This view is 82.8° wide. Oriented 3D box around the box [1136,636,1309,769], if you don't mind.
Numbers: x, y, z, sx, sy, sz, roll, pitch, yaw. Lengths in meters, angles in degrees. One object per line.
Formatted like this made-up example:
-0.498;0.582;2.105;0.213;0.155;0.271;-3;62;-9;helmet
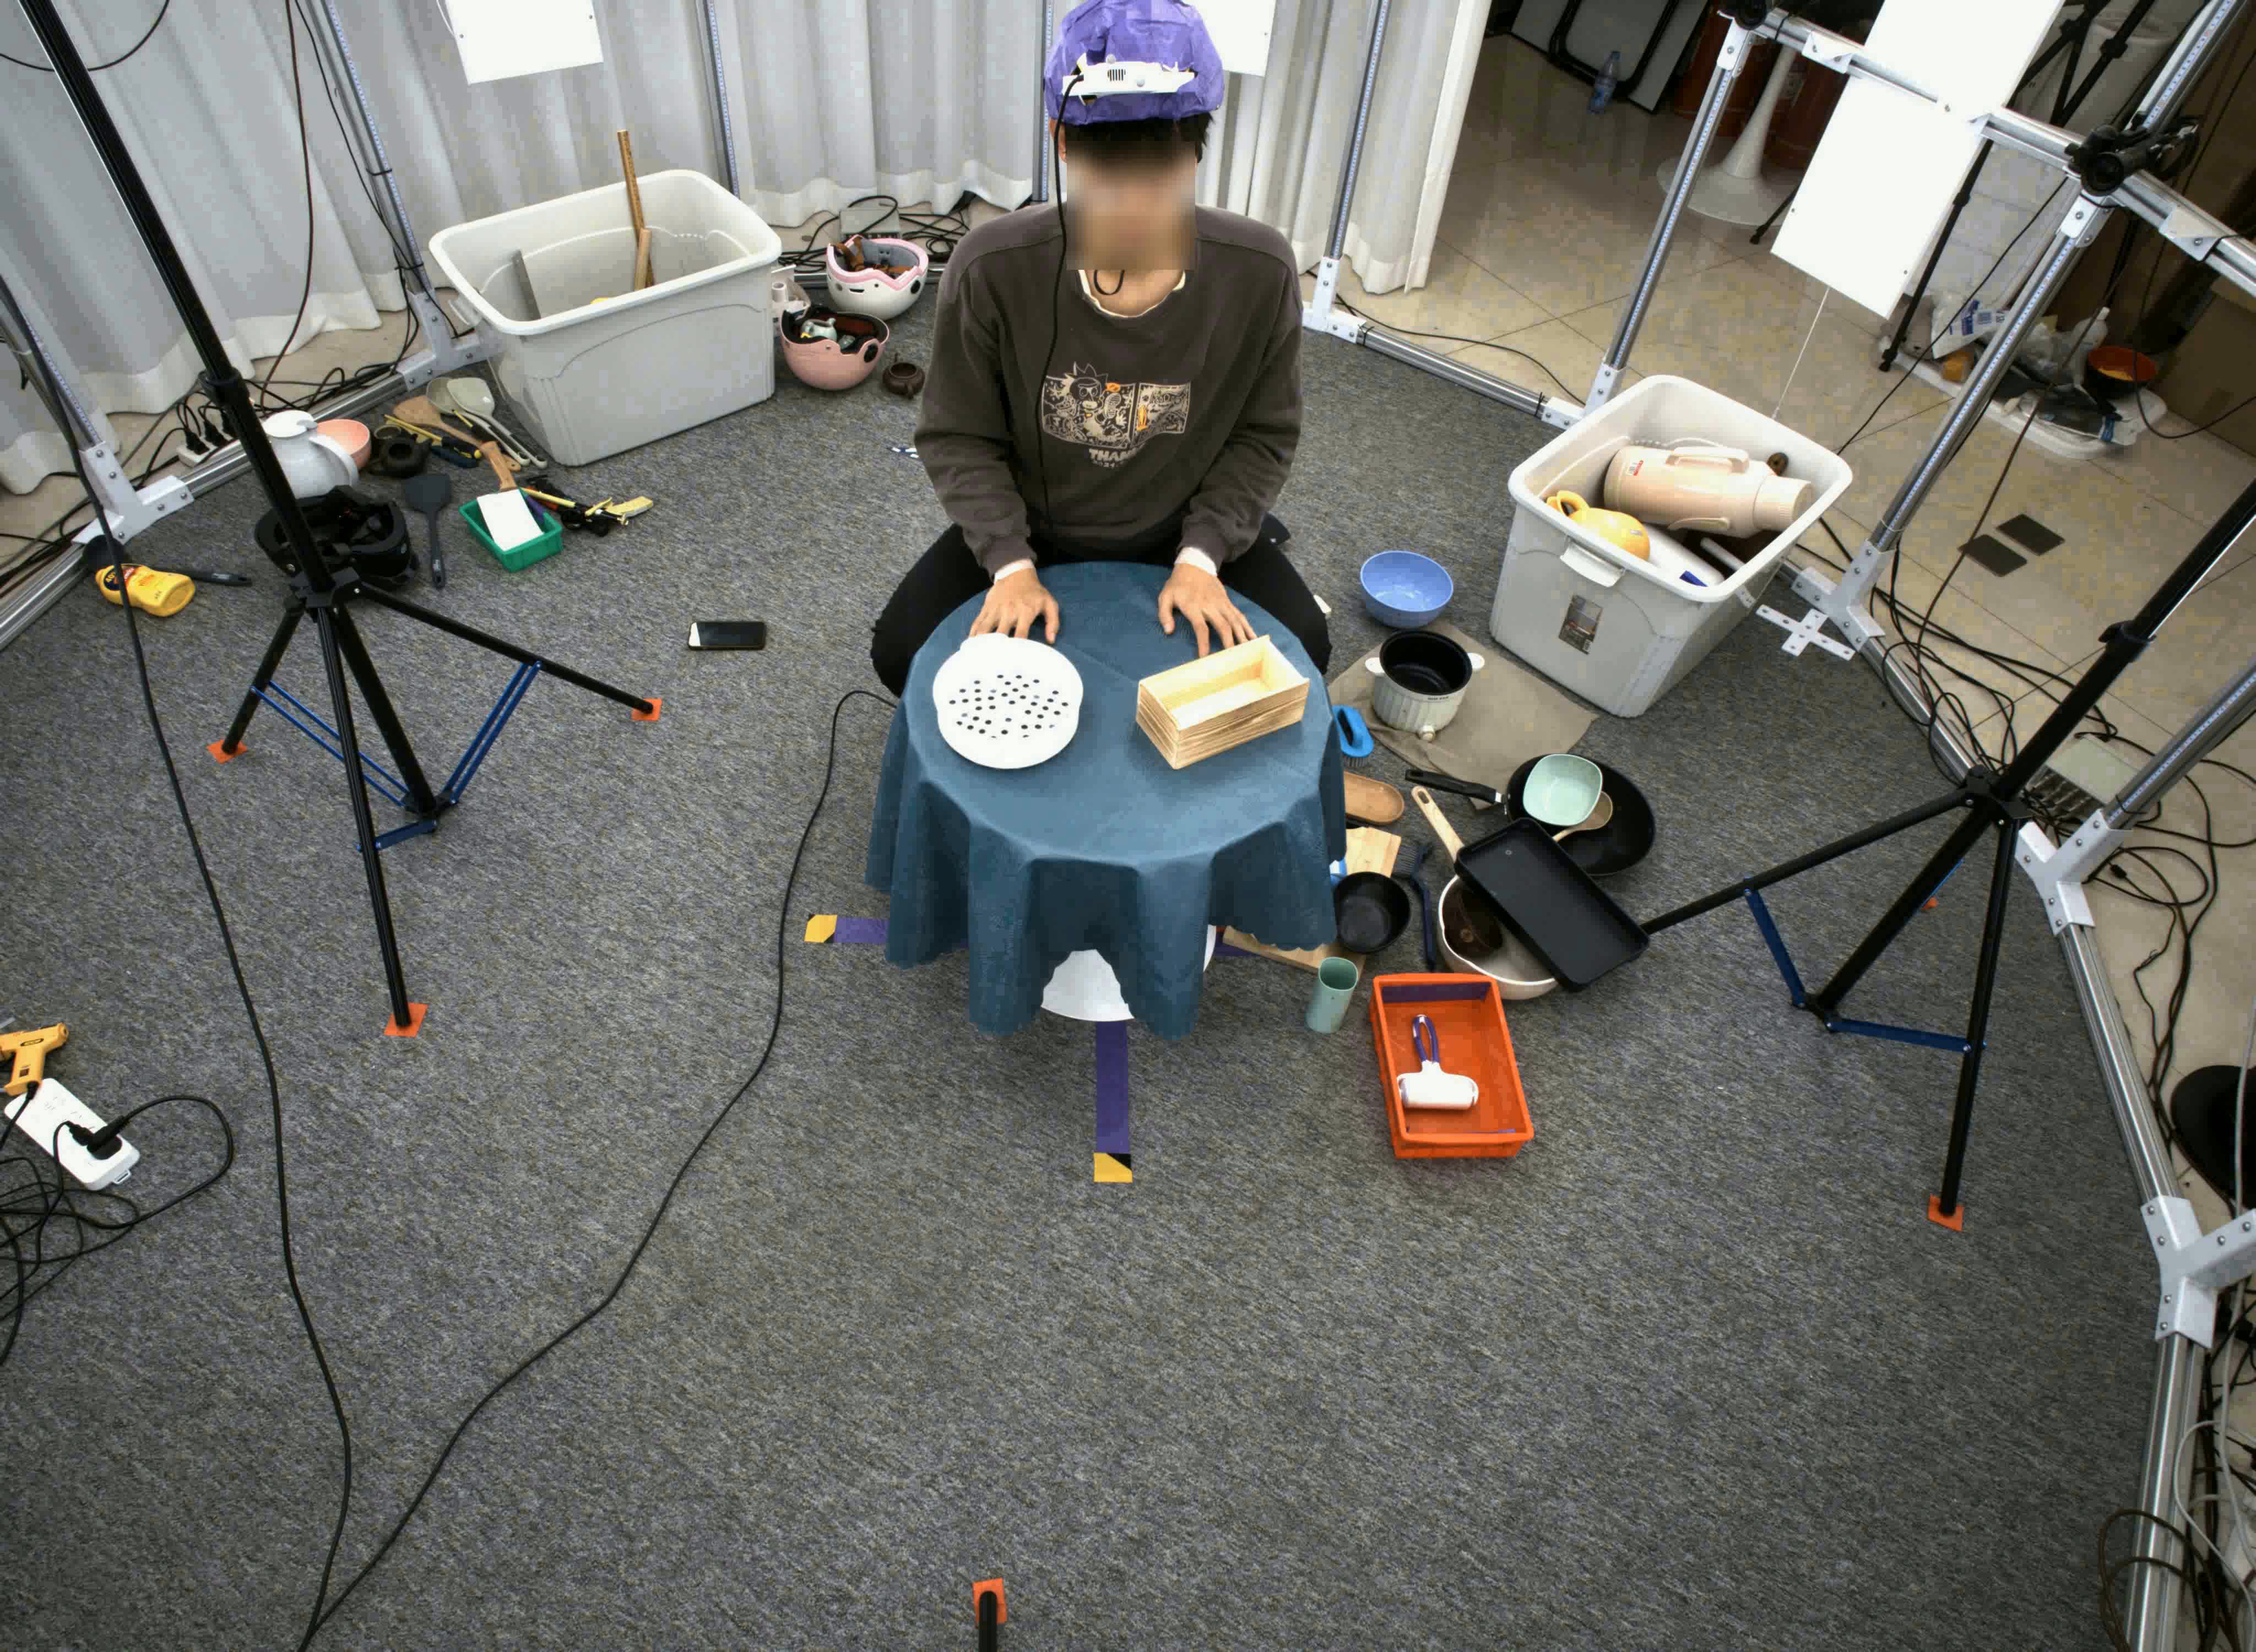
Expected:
0.129;-0.173;1.772;0.212;0.078;0.110;-22;53;-21;box

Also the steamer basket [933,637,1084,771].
-0.162;-0.163;1.753;0.202;0.067;0.236;-15;50;-17;steamer basket
